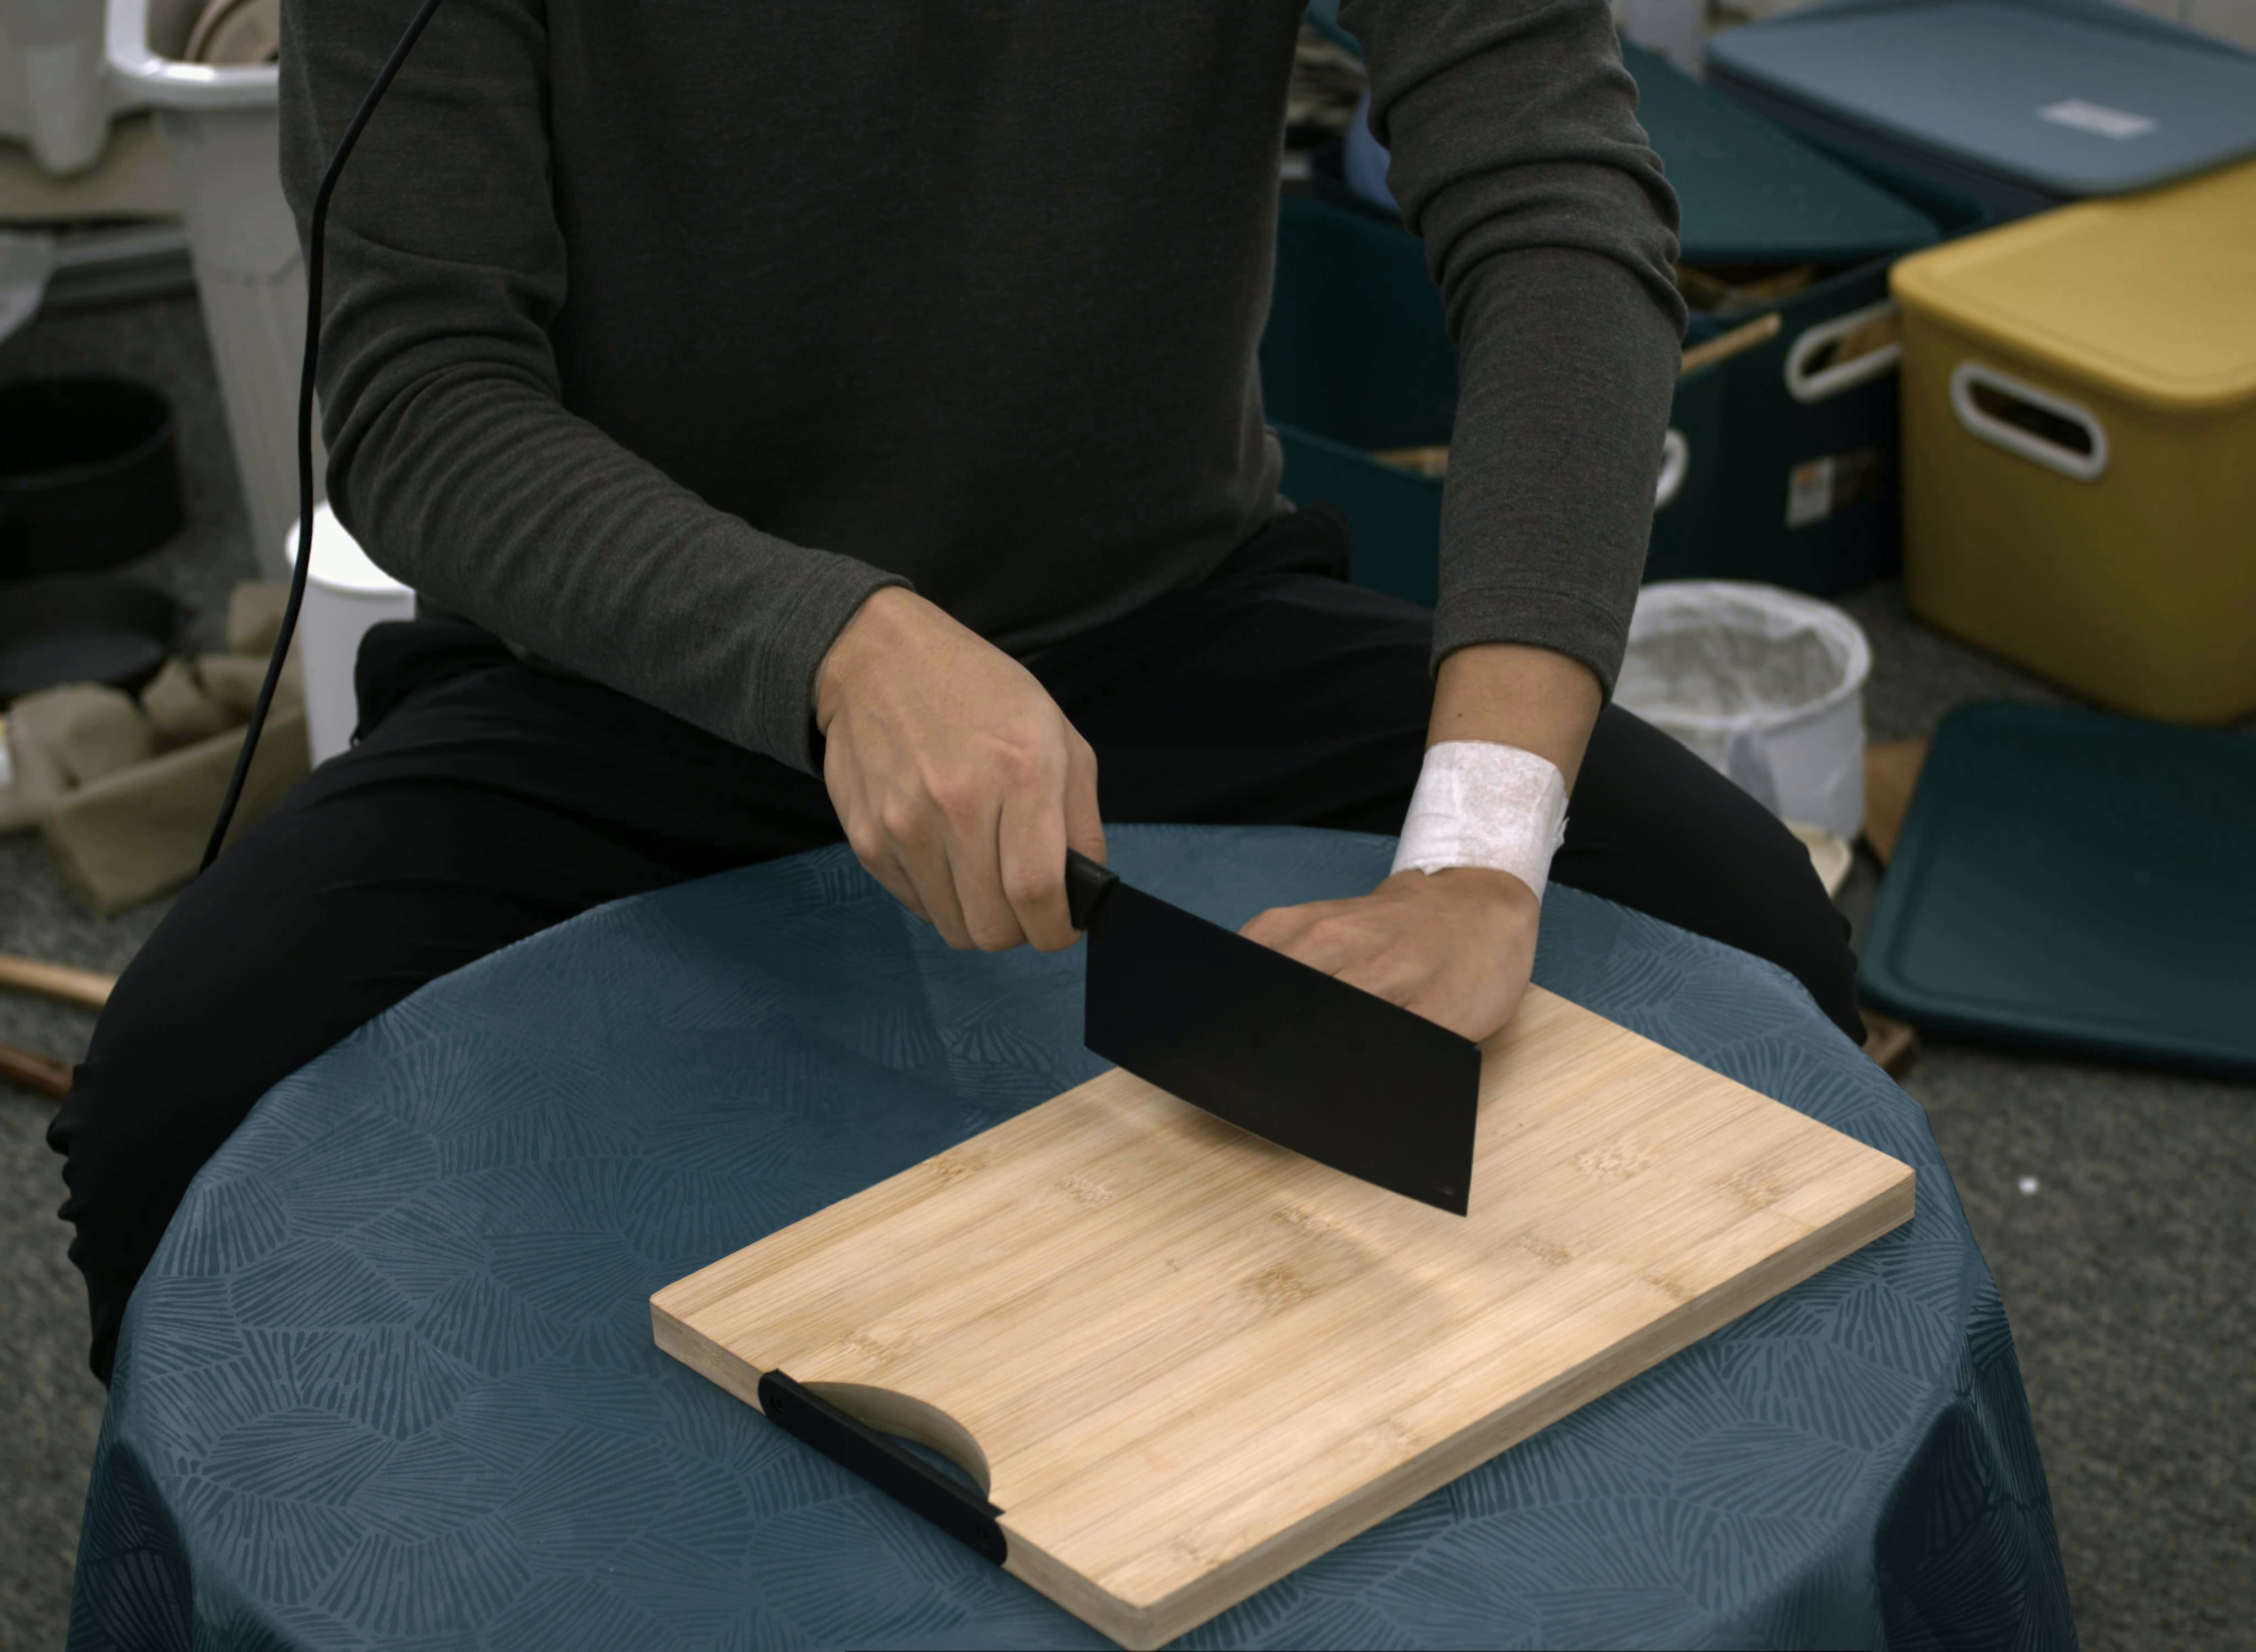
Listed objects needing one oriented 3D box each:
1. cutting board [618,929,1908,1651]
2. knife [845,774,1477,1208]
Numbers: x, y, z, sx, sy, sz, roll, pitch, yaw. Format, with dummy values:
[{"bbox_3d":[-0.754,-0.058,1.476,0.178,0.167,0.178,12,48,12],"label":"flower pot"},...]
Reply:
[{"bbox_3d":[0.047,0.141,1.803,0.352,0.023,0.250,-24,34,-36],"label":"cutting board"},{"bbox_3d":[0.007,0.048,1.854,0.021,0.080,0.302,-13,30,-41],"label":"knife"}]
